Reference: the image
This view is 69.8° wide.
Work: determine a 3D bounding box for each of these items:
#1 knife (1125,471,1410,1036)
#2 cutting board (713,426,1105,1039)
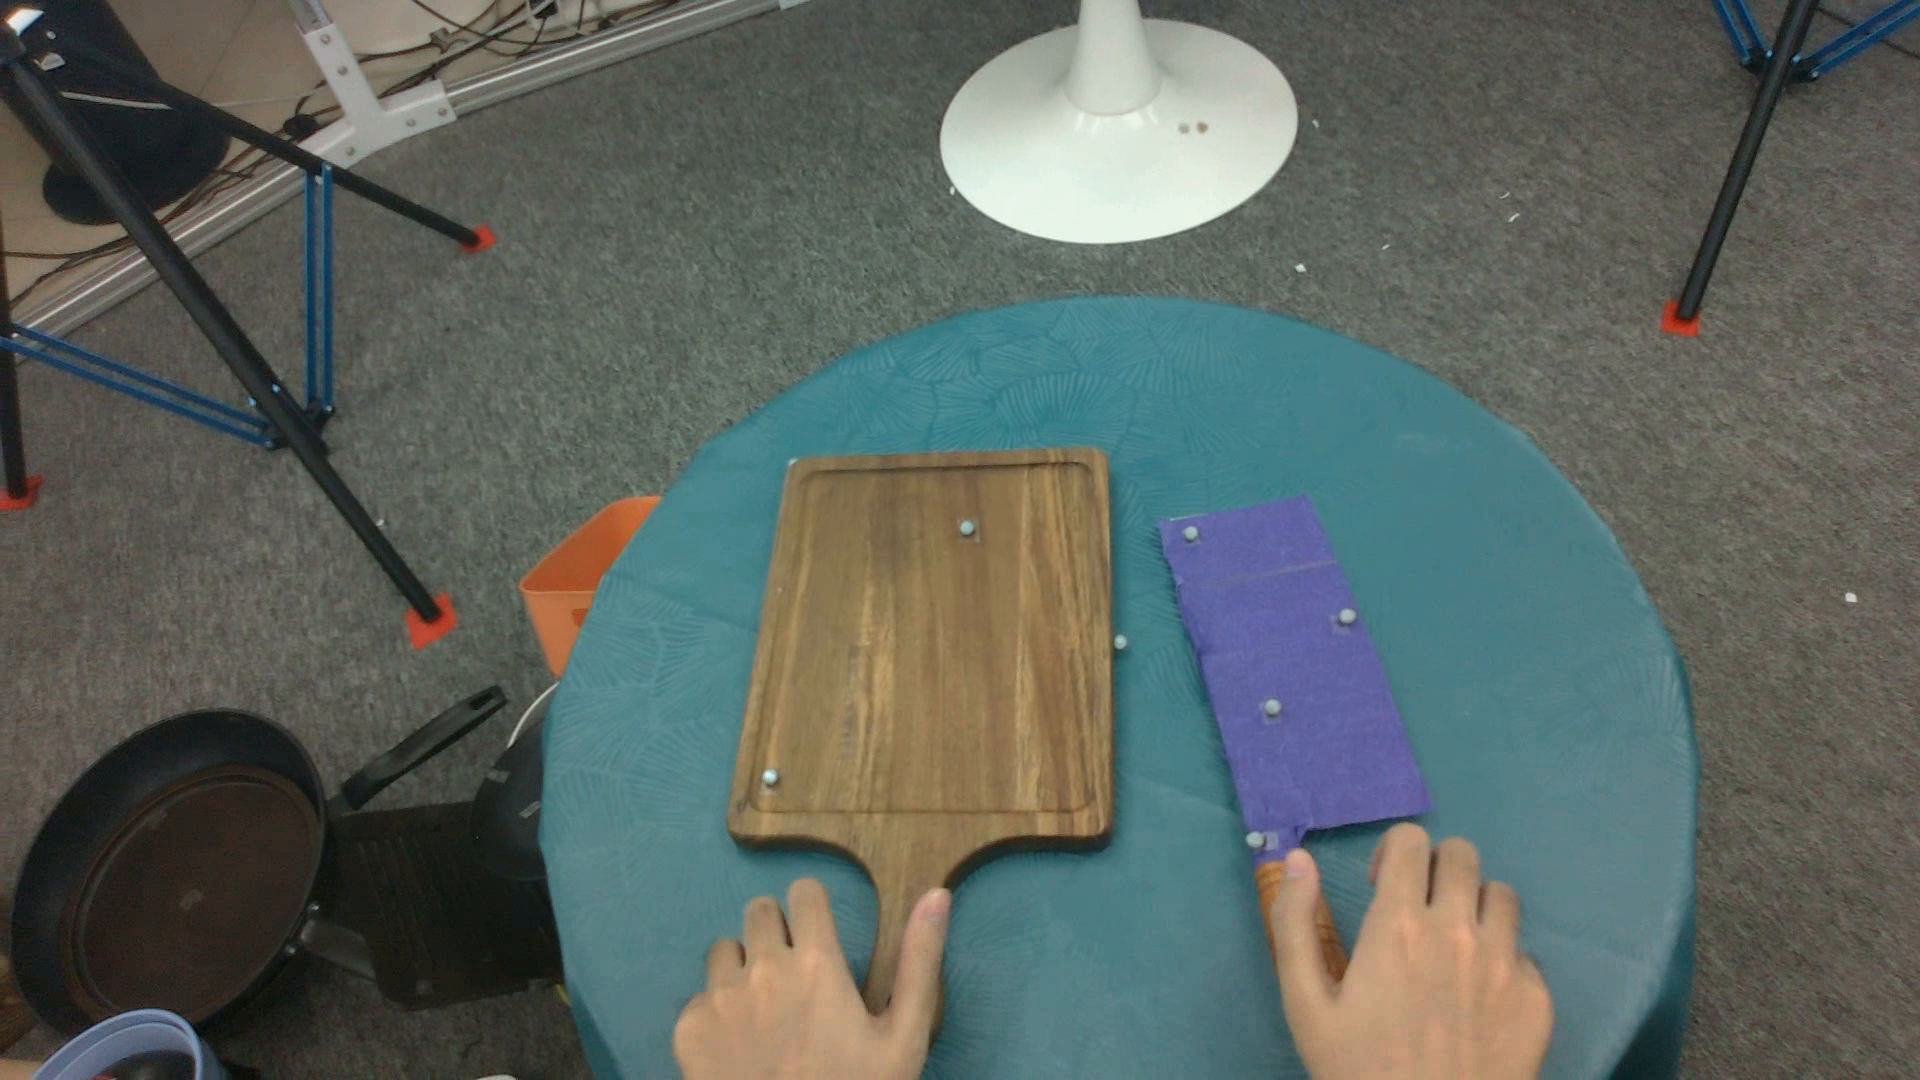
[{"bbox_3d":[0.168,0.084,0.695,0.104,0.032,0.316,-11,52,0],"label":"knife"},{"bbox_3d":[-0.025,0.082,0.729,0.201,0.023,0.354,-2,54,7],"label":"cutting board"}]
